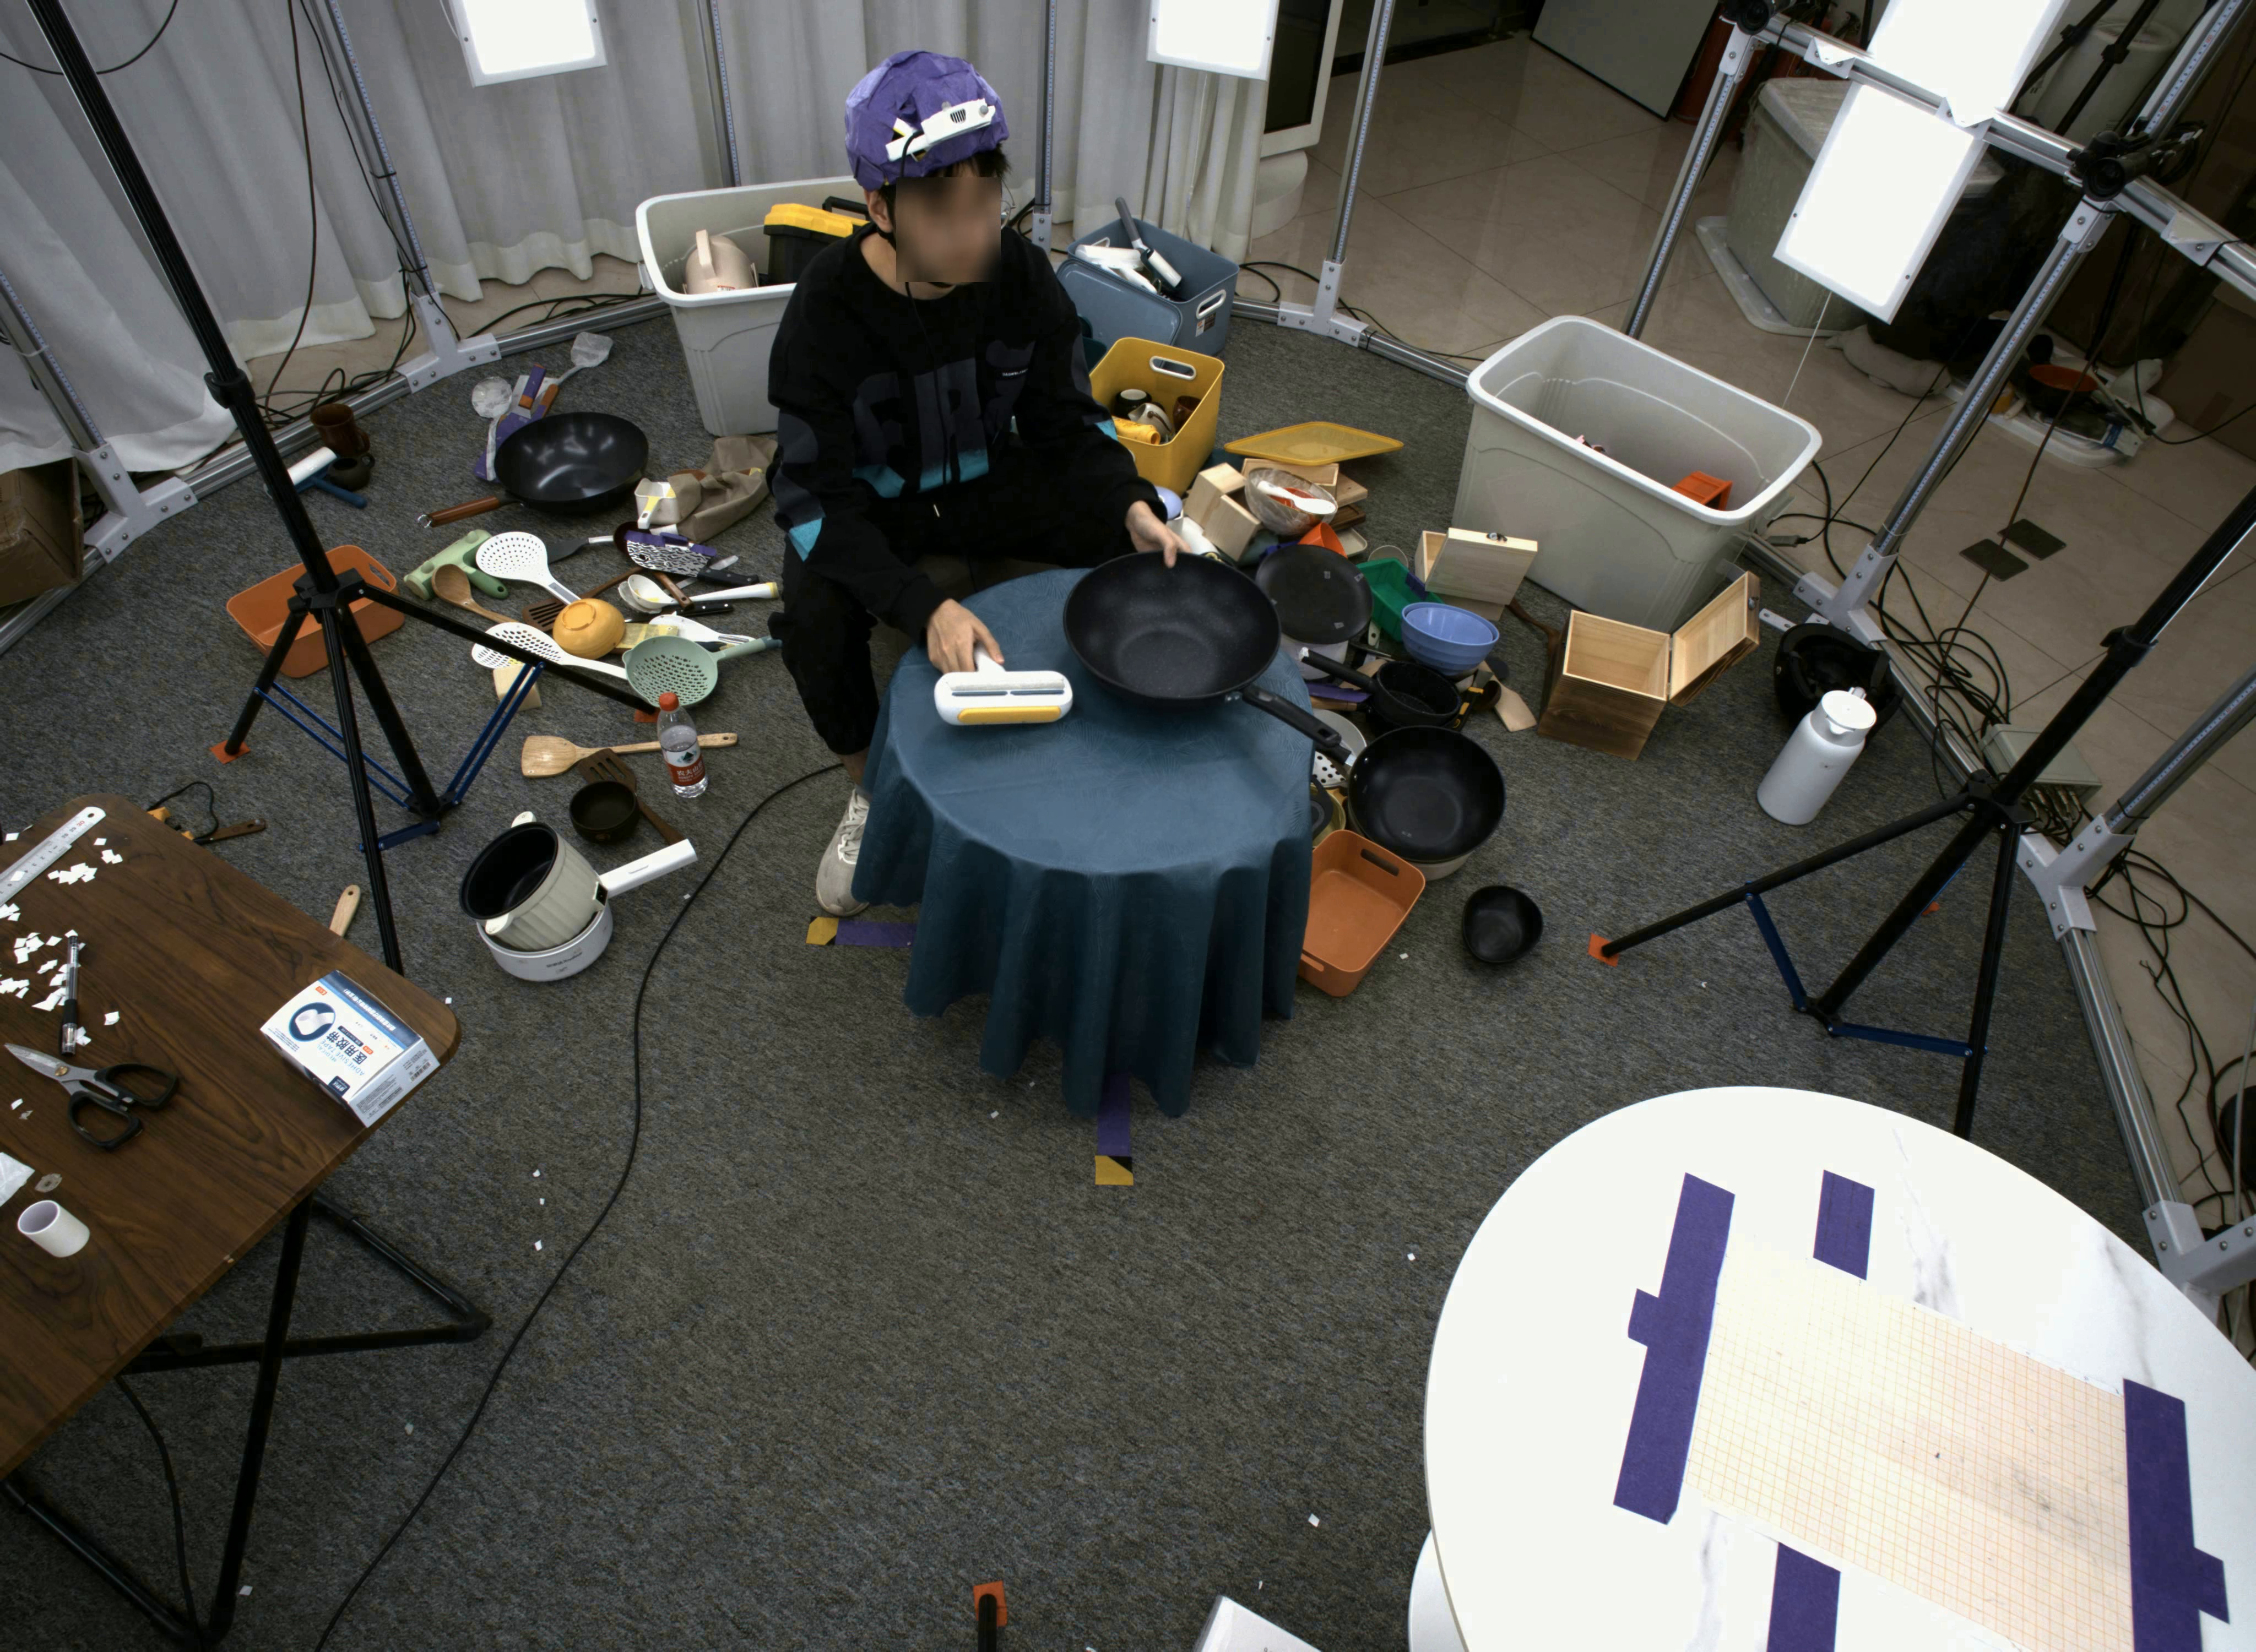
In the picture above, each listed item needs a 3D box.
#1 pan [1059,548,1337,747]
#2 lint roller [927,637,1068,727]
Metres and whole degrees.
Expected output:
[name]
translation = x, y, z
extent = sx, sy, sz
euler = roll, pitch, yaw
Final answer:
[pan]
translation = 0.109, -0.223, 1.799
extent = 0.312, 0.109, 0.485
euler = -32, 58, -25
[lint roller]
translation = -0.192, -0.212, 1.797
extent = 0.192, 0.072, 0.197
euler = -4, 47, -17
